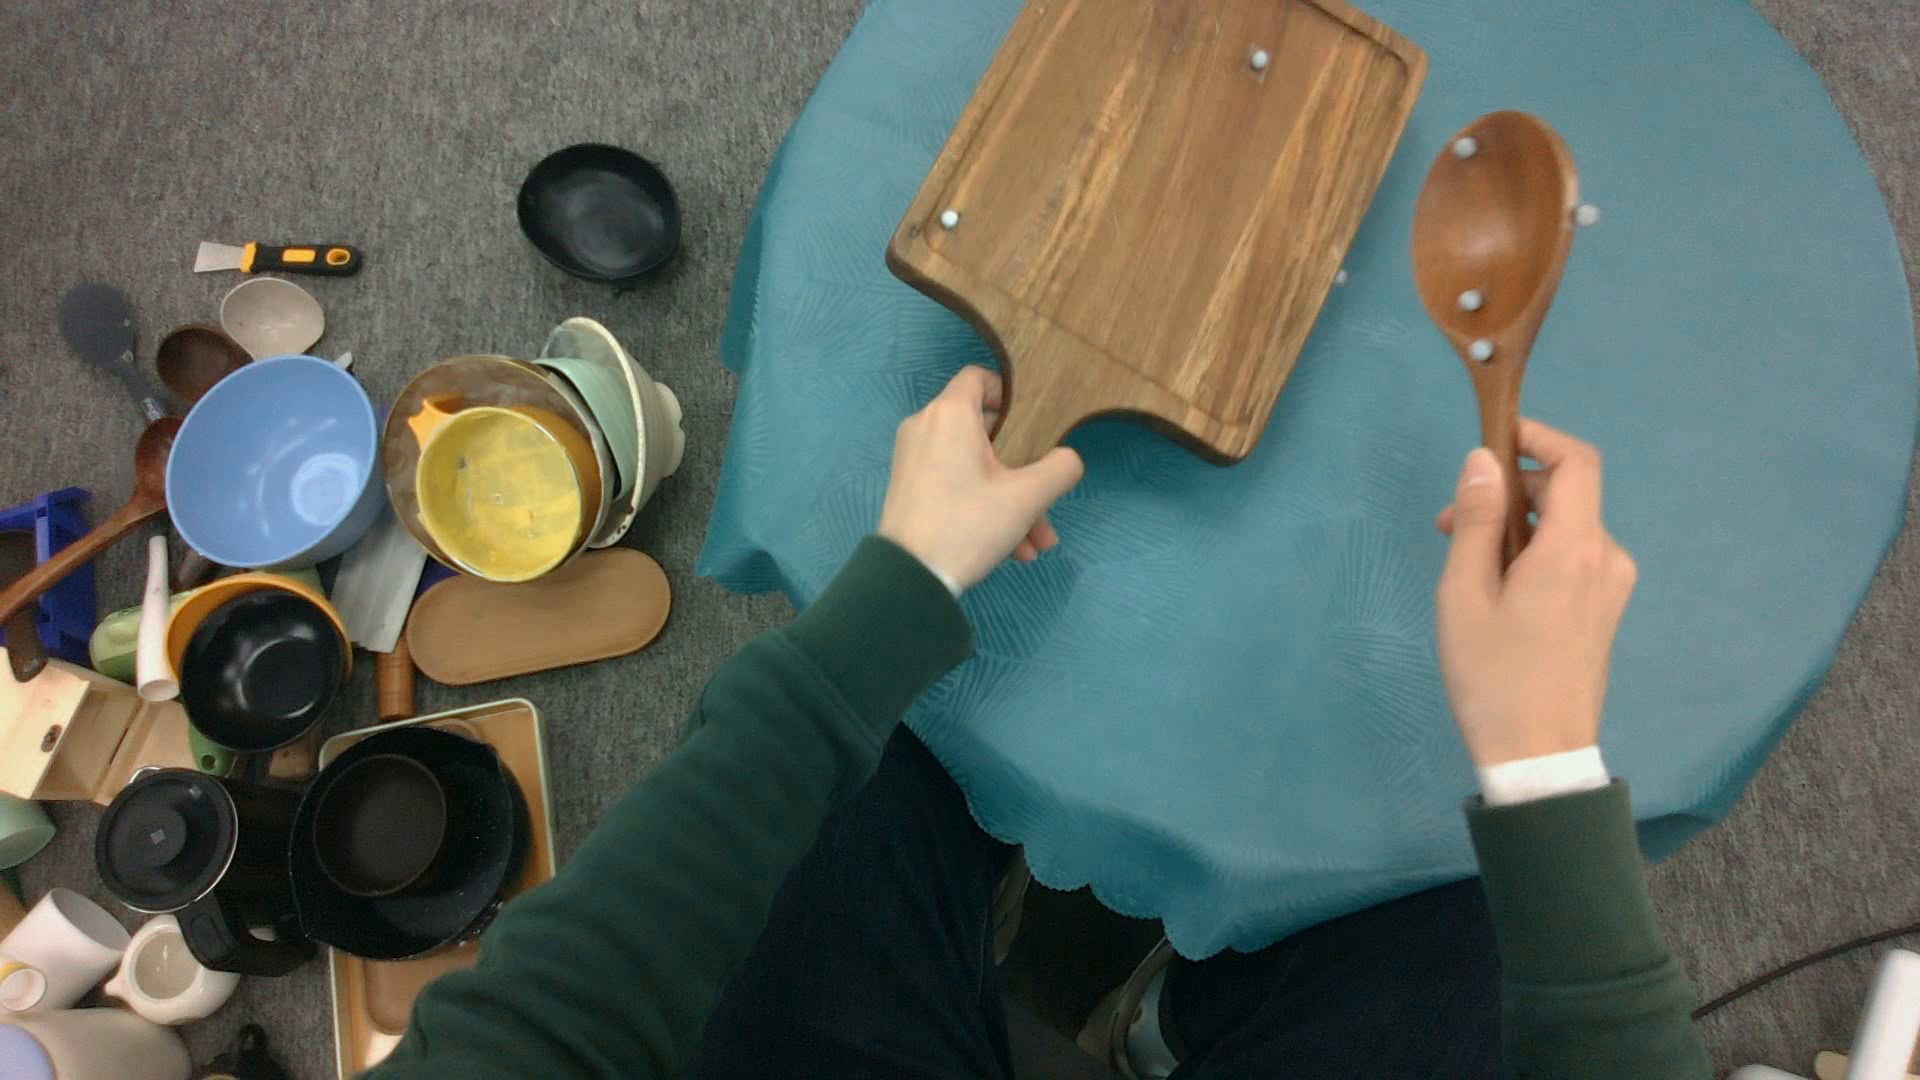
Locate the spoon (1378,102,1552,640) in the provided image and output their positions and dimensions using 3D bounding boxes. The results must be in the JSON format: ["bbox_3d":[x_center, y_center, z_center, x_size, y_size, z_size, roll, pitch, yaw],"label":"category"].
[{"bbox_3d":[0.204,-0.068,0.547,0.017,0.075,0.216,7,80,-38],"label":"spoon"}]

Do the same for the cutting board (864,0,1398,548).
[{"bbox_3d":[0.071,-0.152,0.662,0.201,0.023,0.353,29,73,-8],"label":"cutting board"}]
